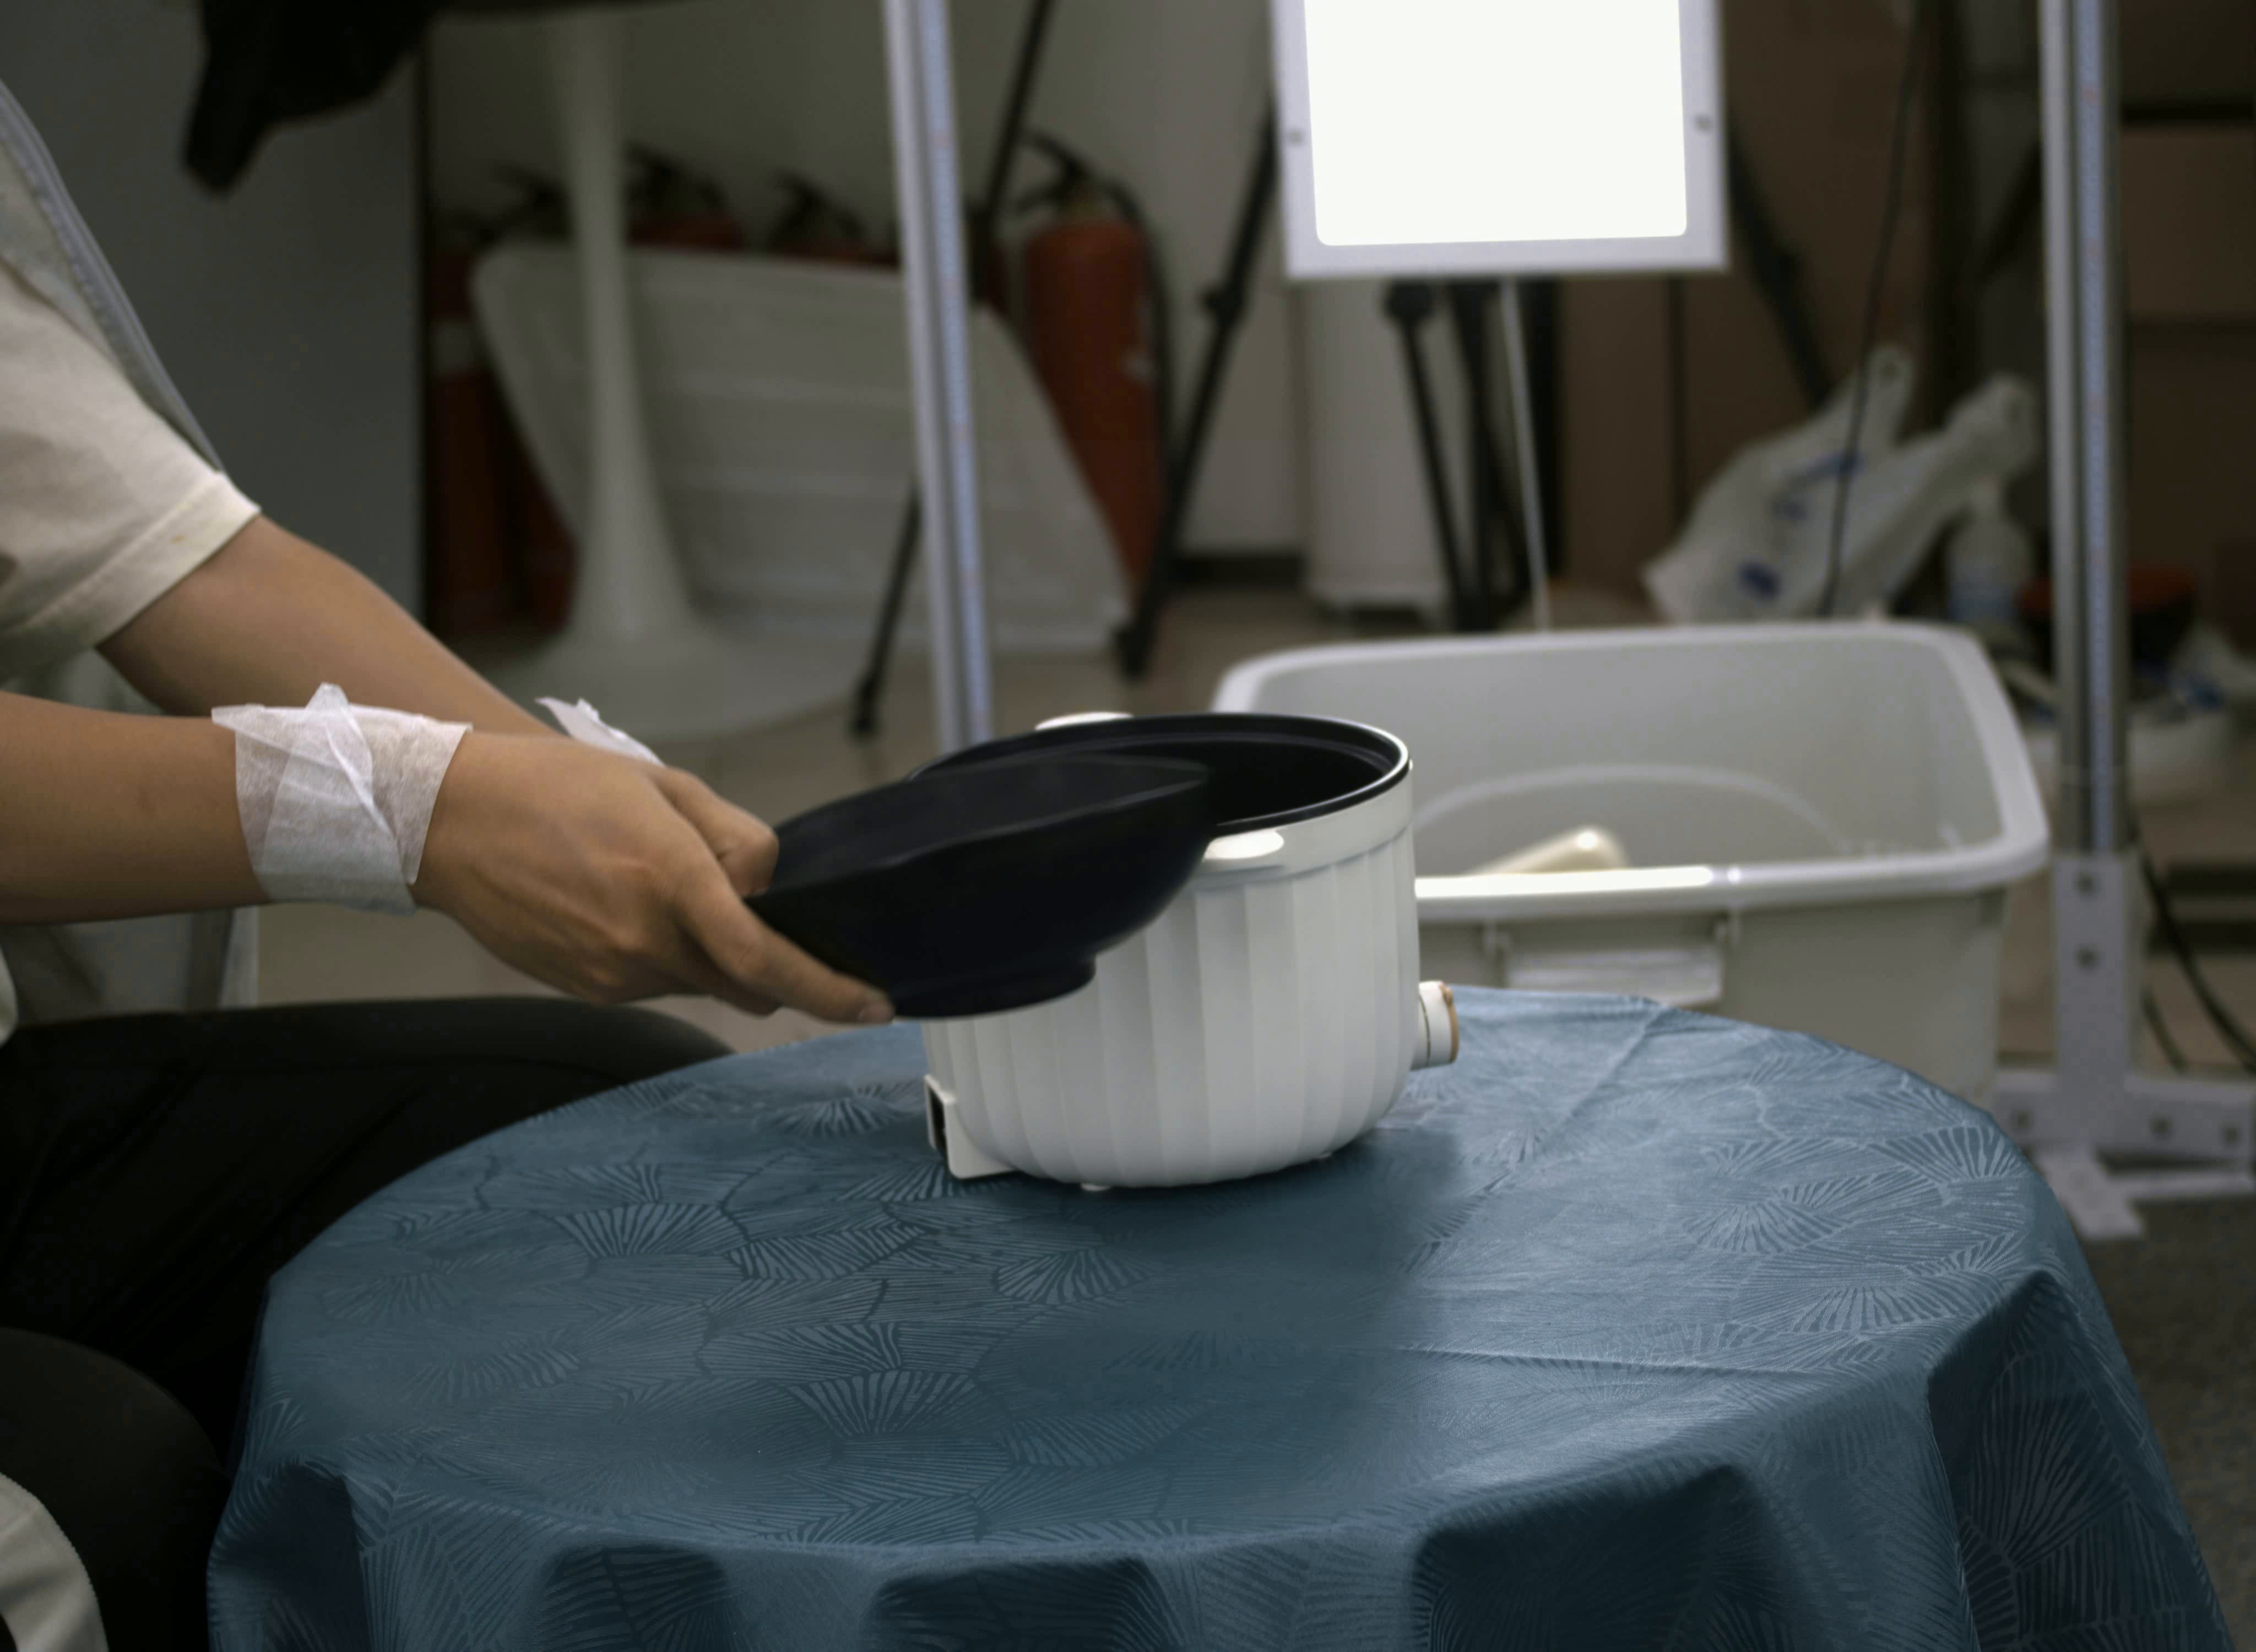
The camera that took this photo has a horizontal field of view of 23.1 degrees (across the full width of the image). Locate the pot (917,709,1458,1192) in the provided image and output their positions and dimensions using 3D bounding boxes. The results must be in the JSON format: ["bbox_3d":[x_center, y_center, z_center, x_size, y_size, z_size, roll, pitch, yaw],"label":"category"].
[{"bbox_3d":[0.018,0.044,1.937,0.188,0.143,0.242,-11,15,-11],"label":"pot"}]

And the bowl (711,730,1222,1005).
[{"bbox_3d":[-0.046,0.017,1.750,0.167,0.067,0.139,-14,11,-18],"label":"bowl"}]
